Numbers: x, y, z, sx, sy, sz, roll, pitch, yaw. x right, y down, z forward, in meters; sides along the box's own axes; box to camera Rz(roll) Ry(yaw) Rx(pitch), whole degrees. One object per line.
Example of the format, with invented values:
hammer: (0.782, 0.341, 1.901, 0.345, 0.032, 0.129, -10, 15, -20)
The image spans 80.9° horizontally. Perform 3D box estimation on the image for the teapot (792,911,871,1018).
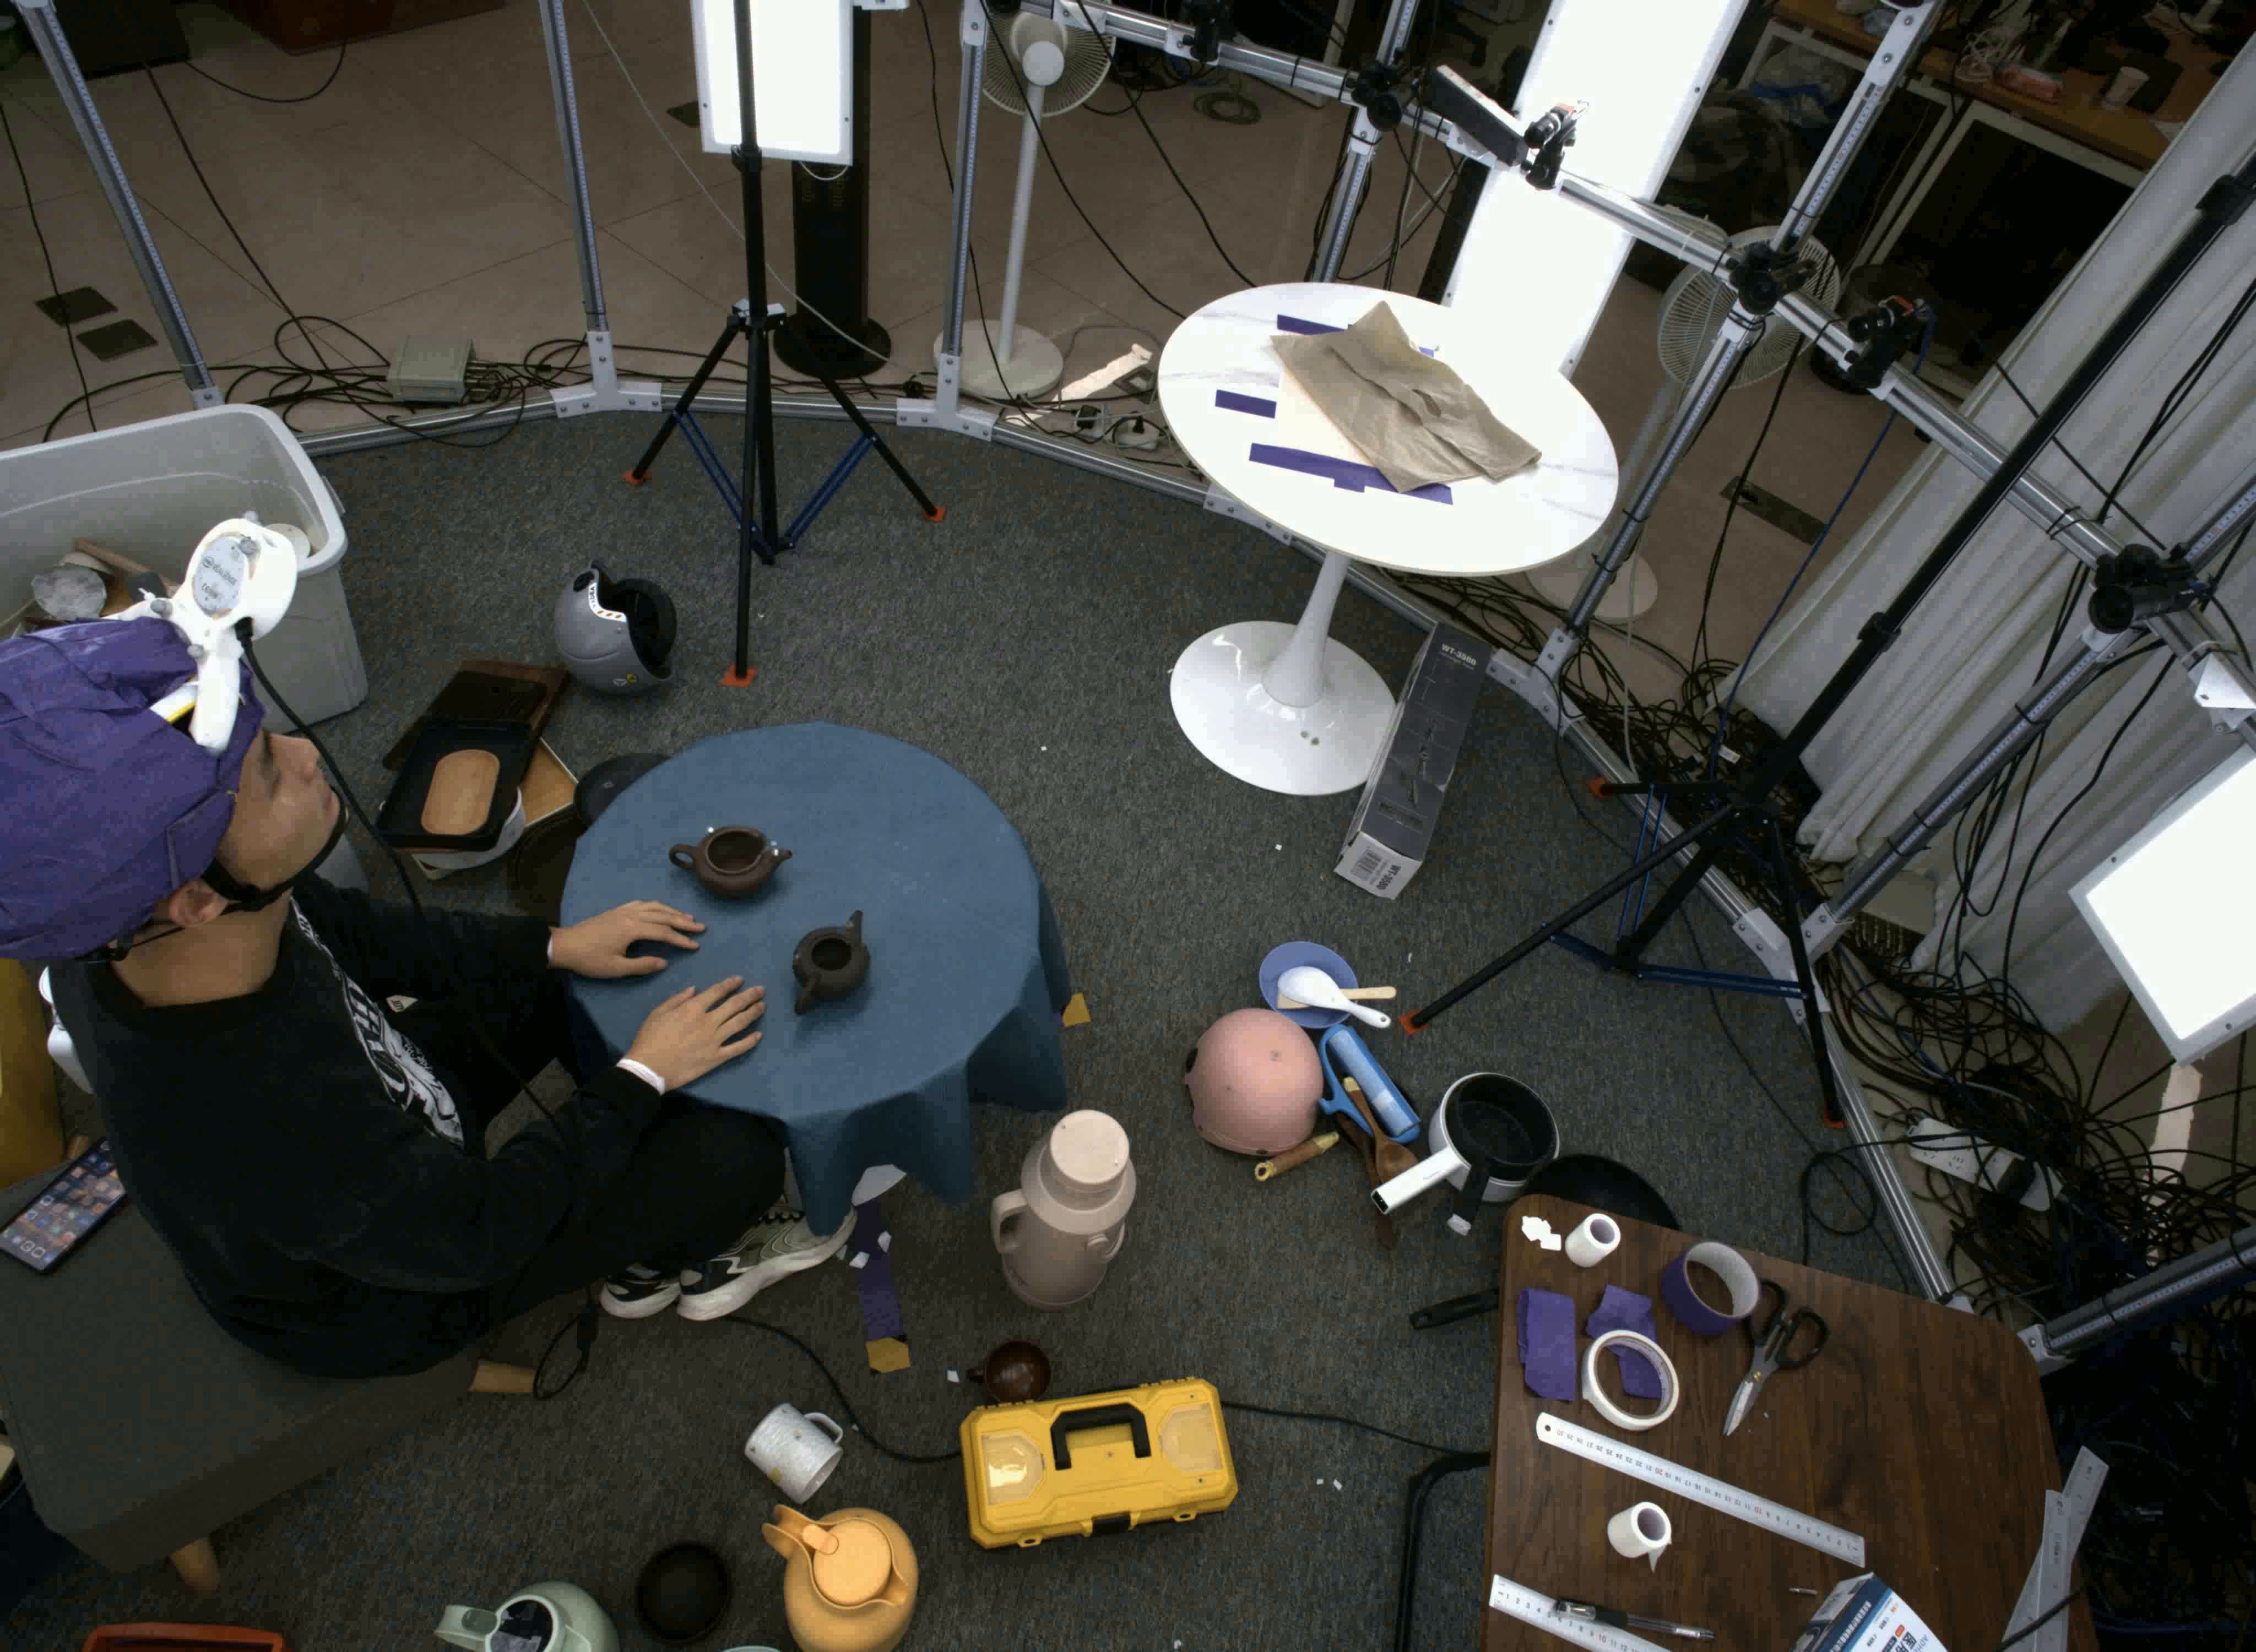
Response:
teapot: (-0.360, 0.168, 1.571, 0.091, 0.066, 0.153, 23, 51, 7)

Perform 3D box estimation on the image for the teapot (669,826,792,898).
teapot: (-0.502, 0.042, 1.634, 0.154, 0.055, 0.100, 0, 52, -14)
